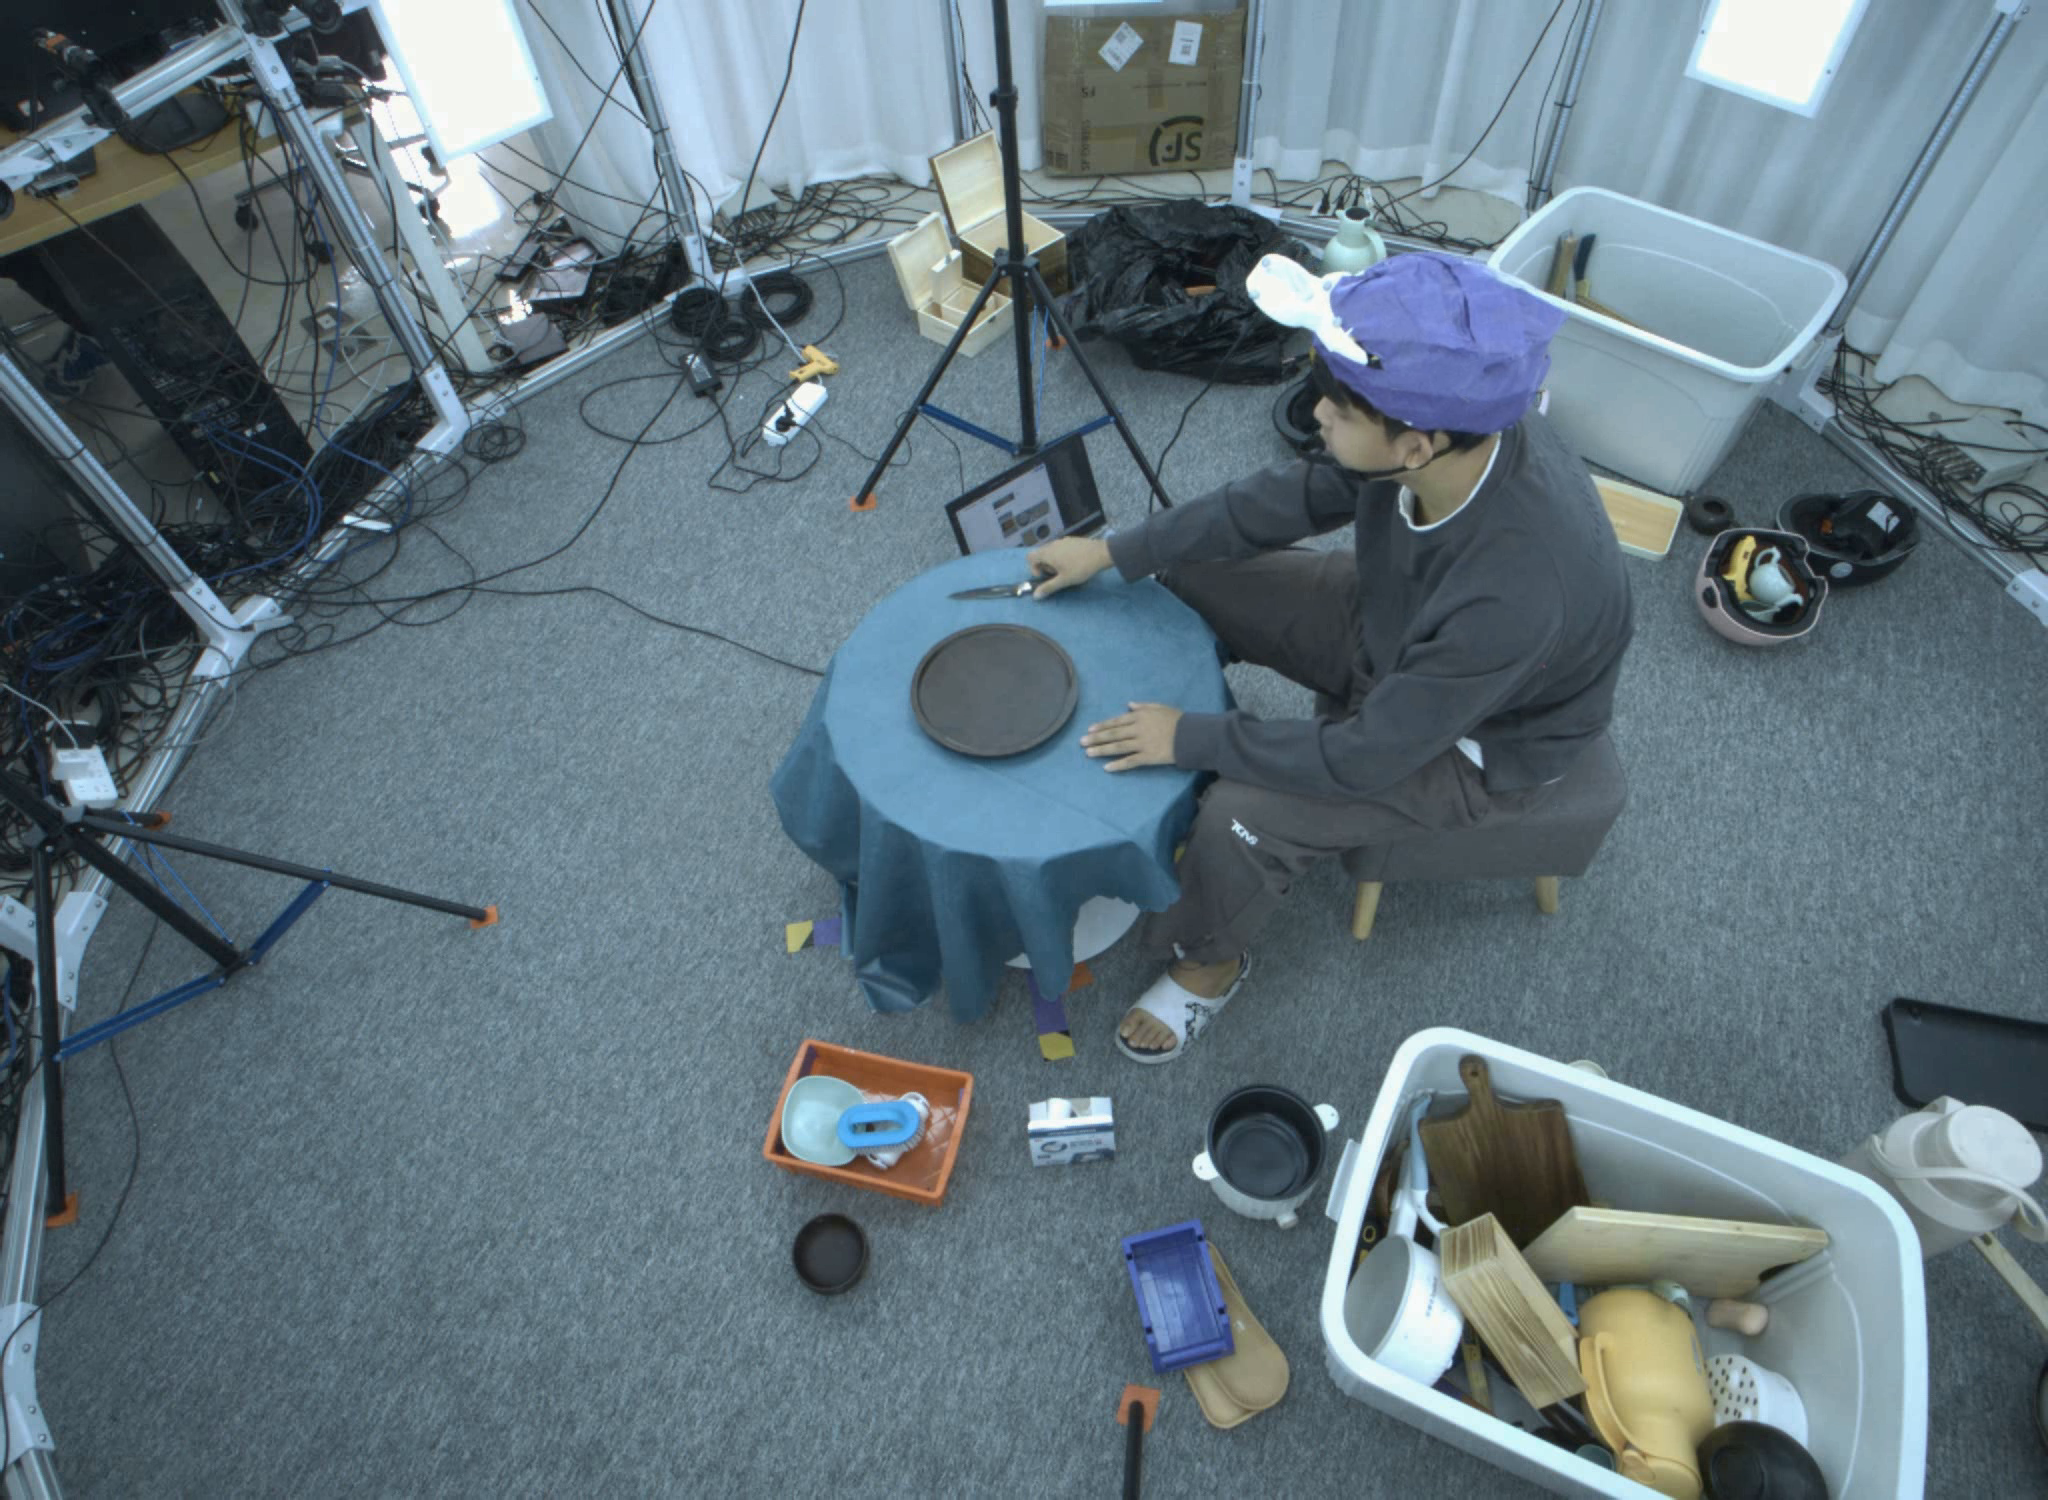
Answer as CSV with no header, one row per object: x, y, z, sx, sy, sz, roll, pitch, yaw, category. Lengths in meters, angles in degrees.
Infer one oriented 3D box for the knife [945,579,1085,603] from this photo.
-0.015,-0.254,1.961,0.226,0.017,0.026,-6,61,-2,knife

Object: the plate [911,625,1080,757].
-0.043,-0.090,1.838,0.255,0.029,0.252,0,54,1,plate
